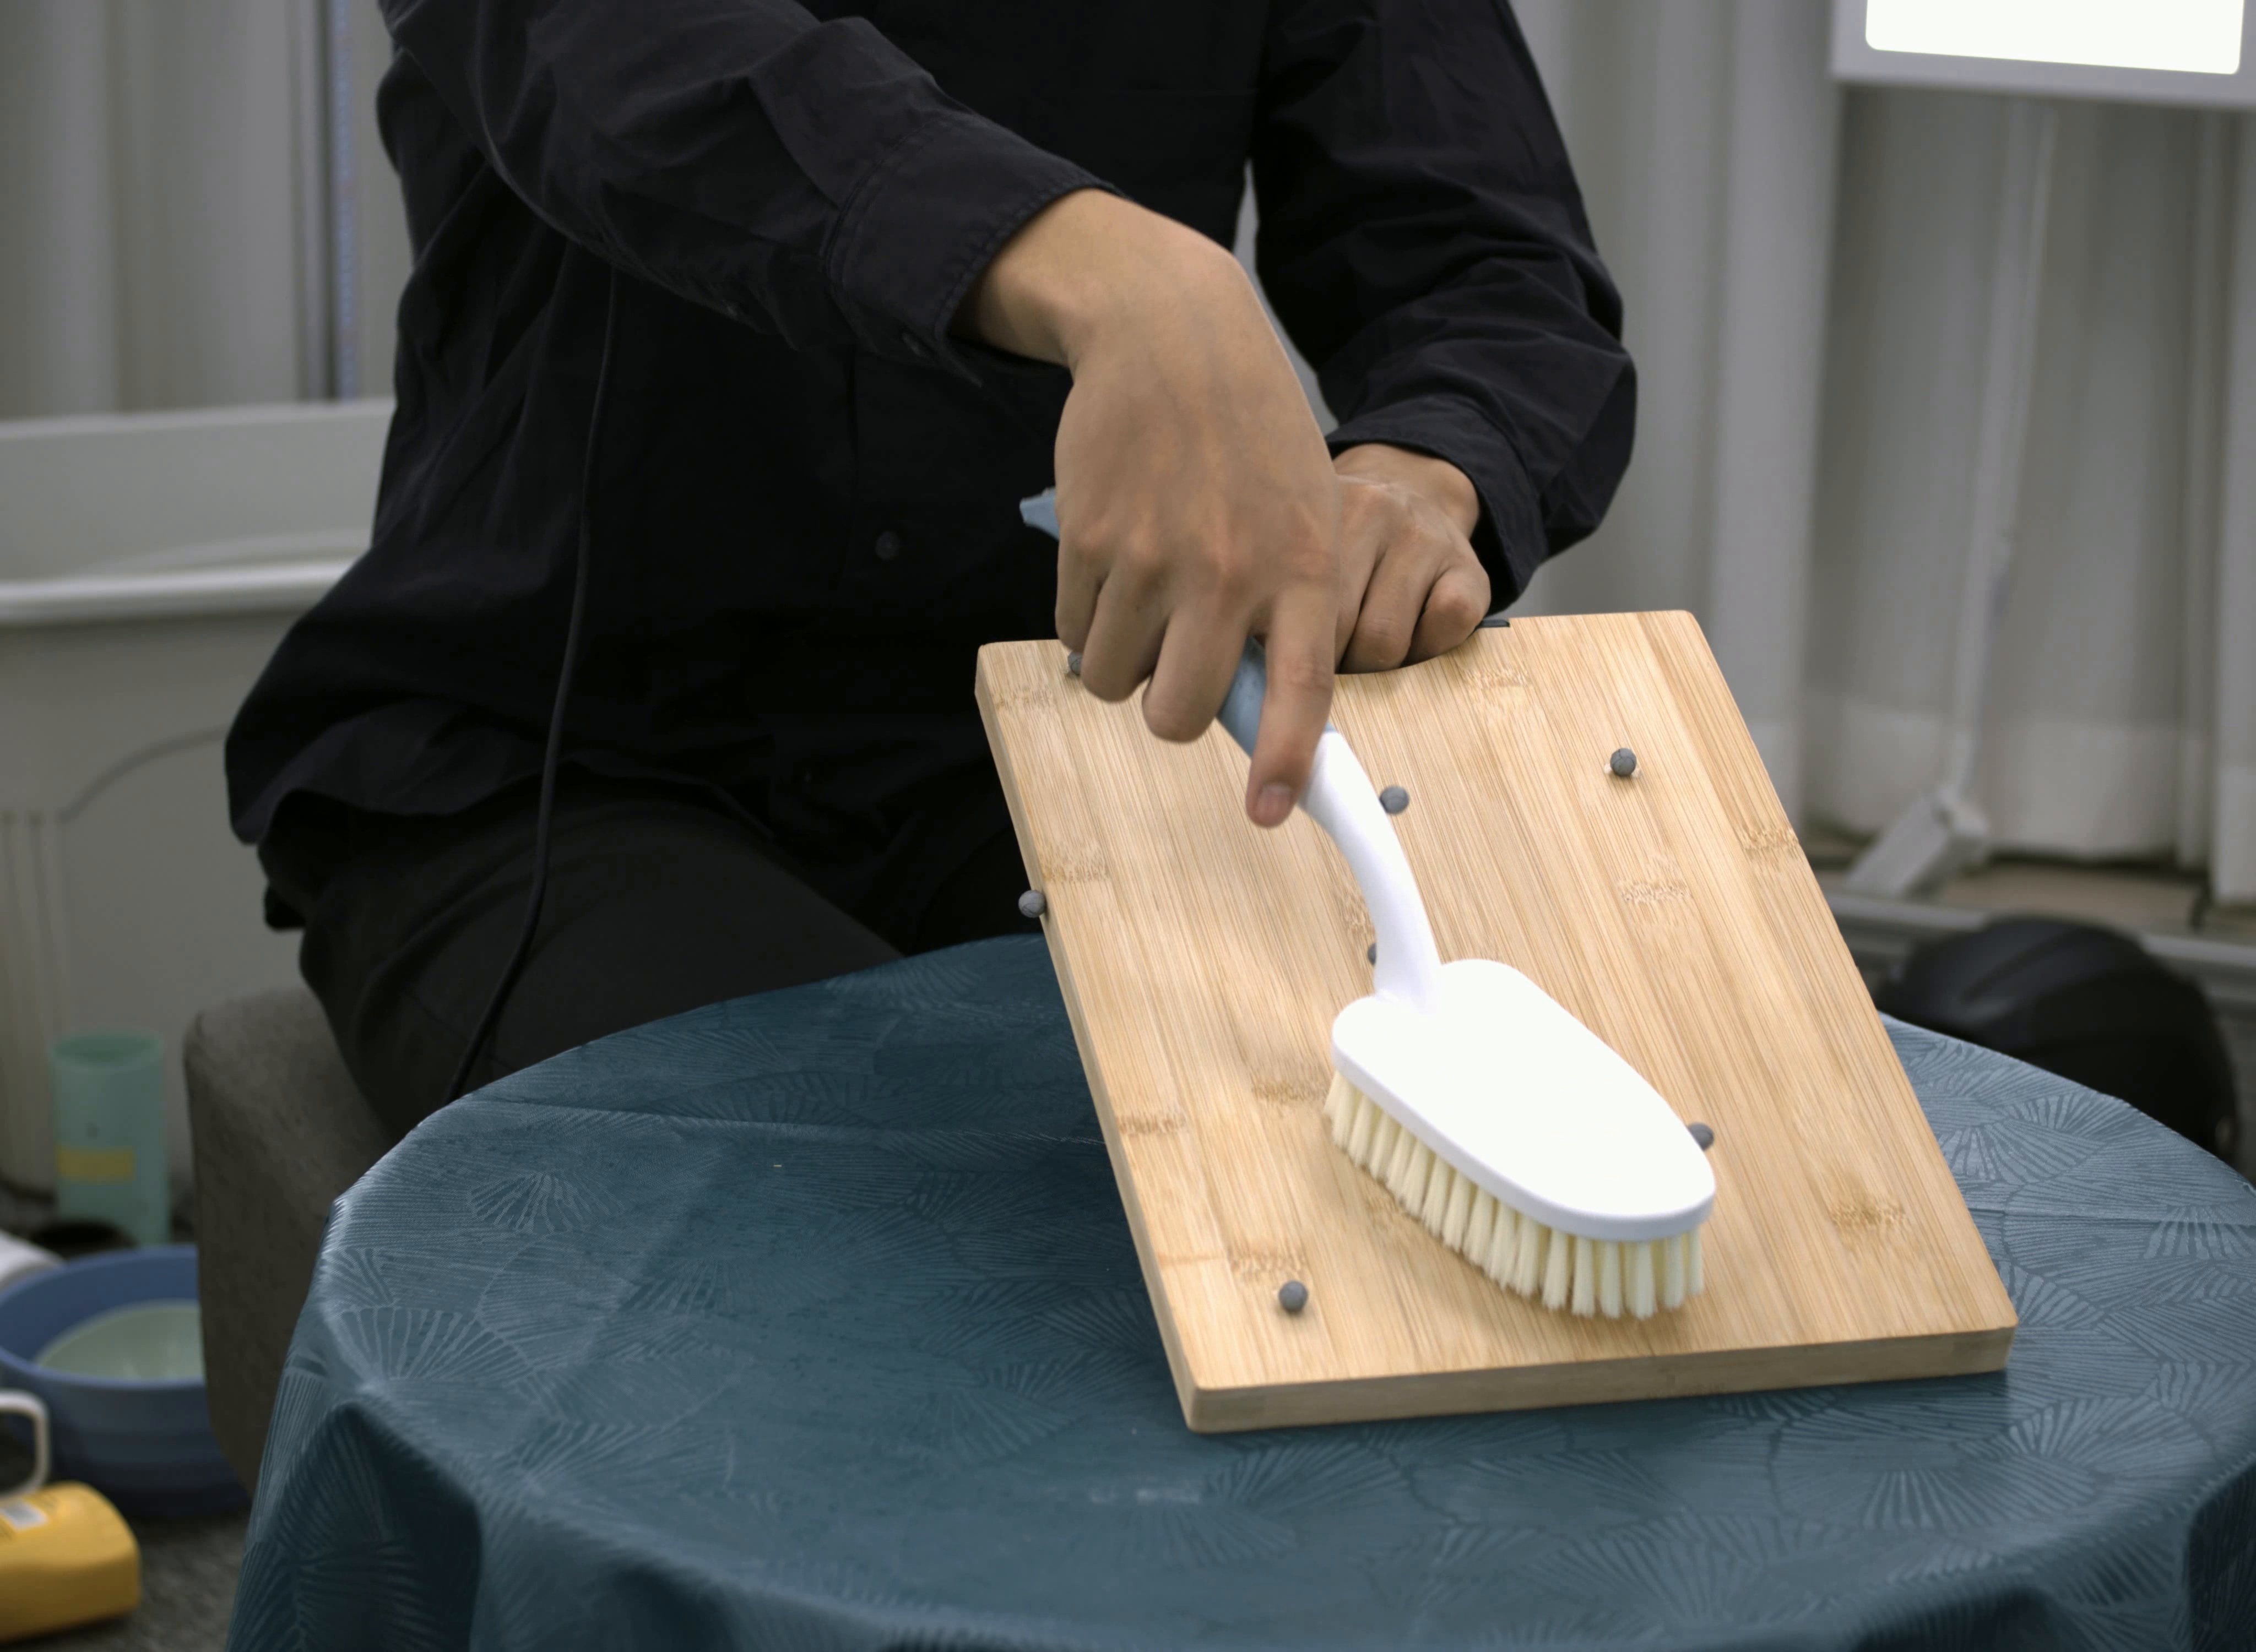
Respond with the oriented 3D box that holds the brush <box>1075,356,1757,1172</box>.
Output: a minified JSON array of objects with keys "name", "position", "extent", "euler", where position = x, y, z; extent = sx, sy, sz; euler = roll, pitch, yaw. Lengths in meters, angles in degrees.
[{"name":"brush","position":[0.078,-0.012,1.566],"extent":[0.322,0.084,0.084],"euler":[50,17,28]}]

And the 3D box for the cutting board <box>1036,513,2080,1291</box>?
[{"name":"cutting board","position":[0.121,0.015,1.617],"extent":[0.251,0.024,0.344],"euler":[-3,40,-14]}]
